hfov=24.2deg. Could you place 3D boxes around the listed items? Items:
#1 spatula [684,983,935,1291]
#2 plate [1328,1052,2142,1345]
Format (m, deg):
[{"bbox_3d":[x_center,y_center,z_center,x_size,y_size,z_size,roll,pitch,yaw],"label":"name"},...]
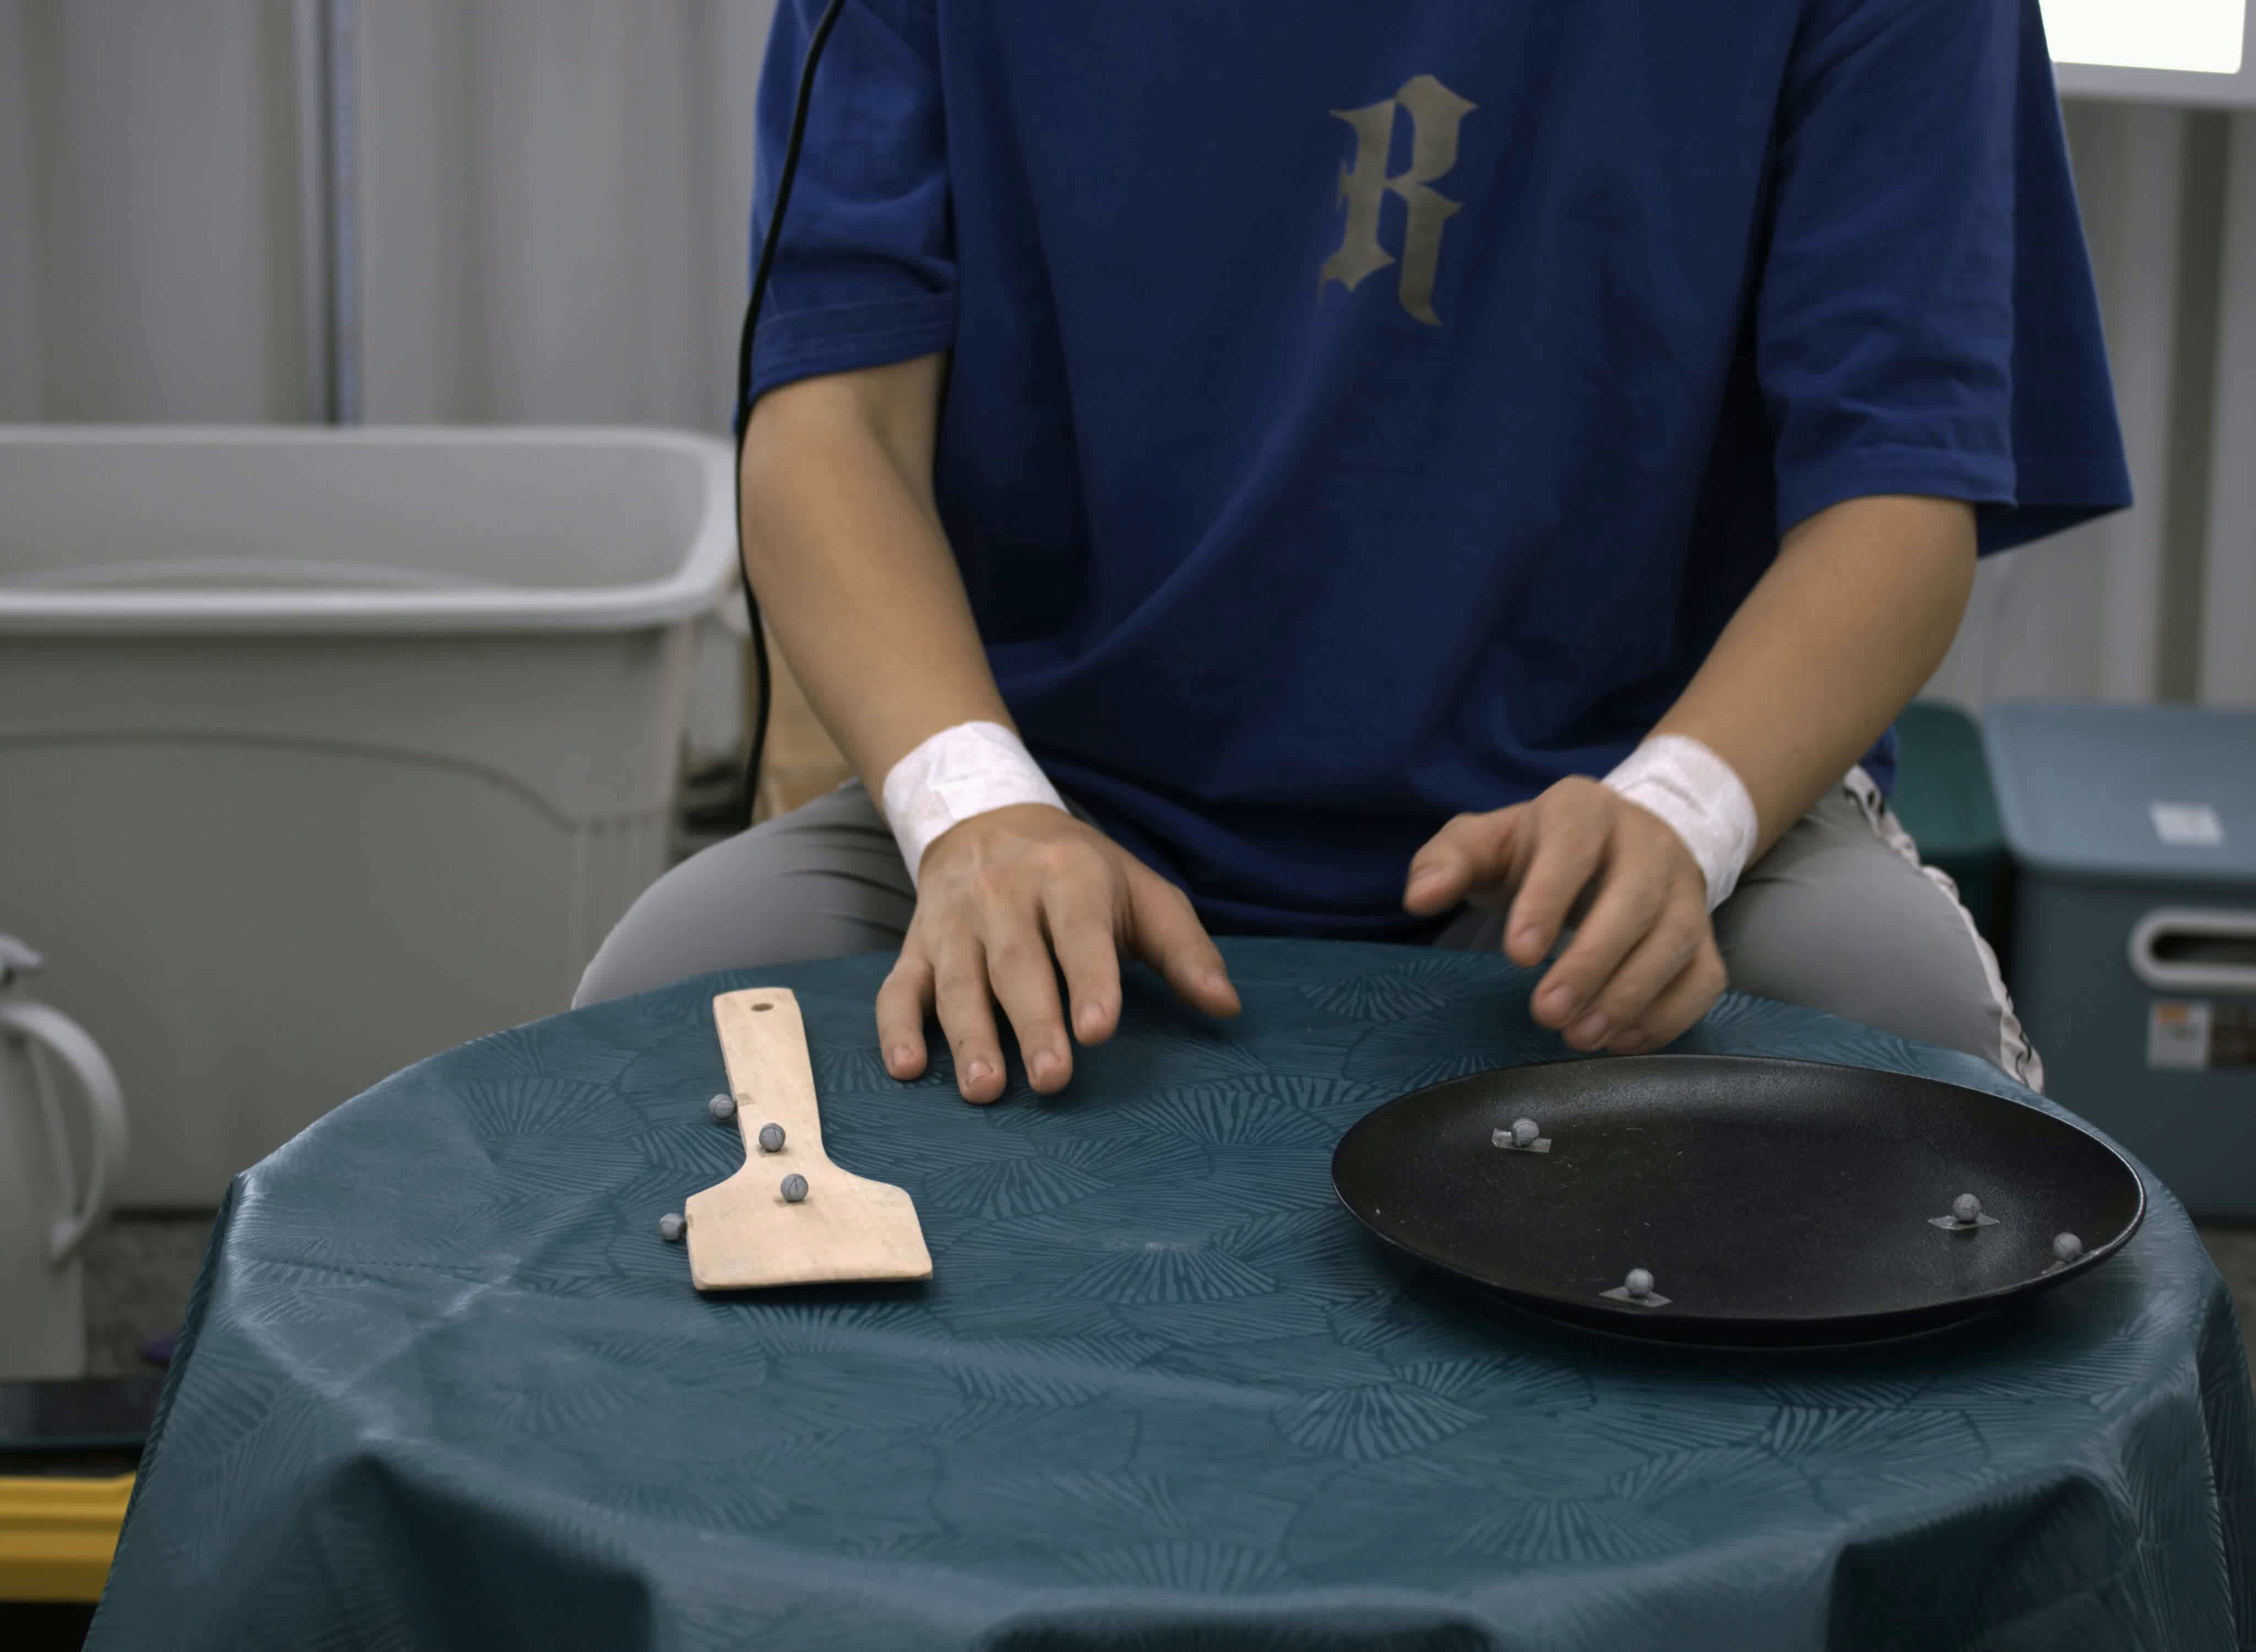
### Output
[{"bbox_3d":[-0.109,0.096,1.662,0.072,0.011,0.291,-3,16,-7],"label":"spatula"},{"bbox_3d":[0.181,0.114,1.580,0.243,0.023,0.243,1,15,0],"label":"plate"}]
